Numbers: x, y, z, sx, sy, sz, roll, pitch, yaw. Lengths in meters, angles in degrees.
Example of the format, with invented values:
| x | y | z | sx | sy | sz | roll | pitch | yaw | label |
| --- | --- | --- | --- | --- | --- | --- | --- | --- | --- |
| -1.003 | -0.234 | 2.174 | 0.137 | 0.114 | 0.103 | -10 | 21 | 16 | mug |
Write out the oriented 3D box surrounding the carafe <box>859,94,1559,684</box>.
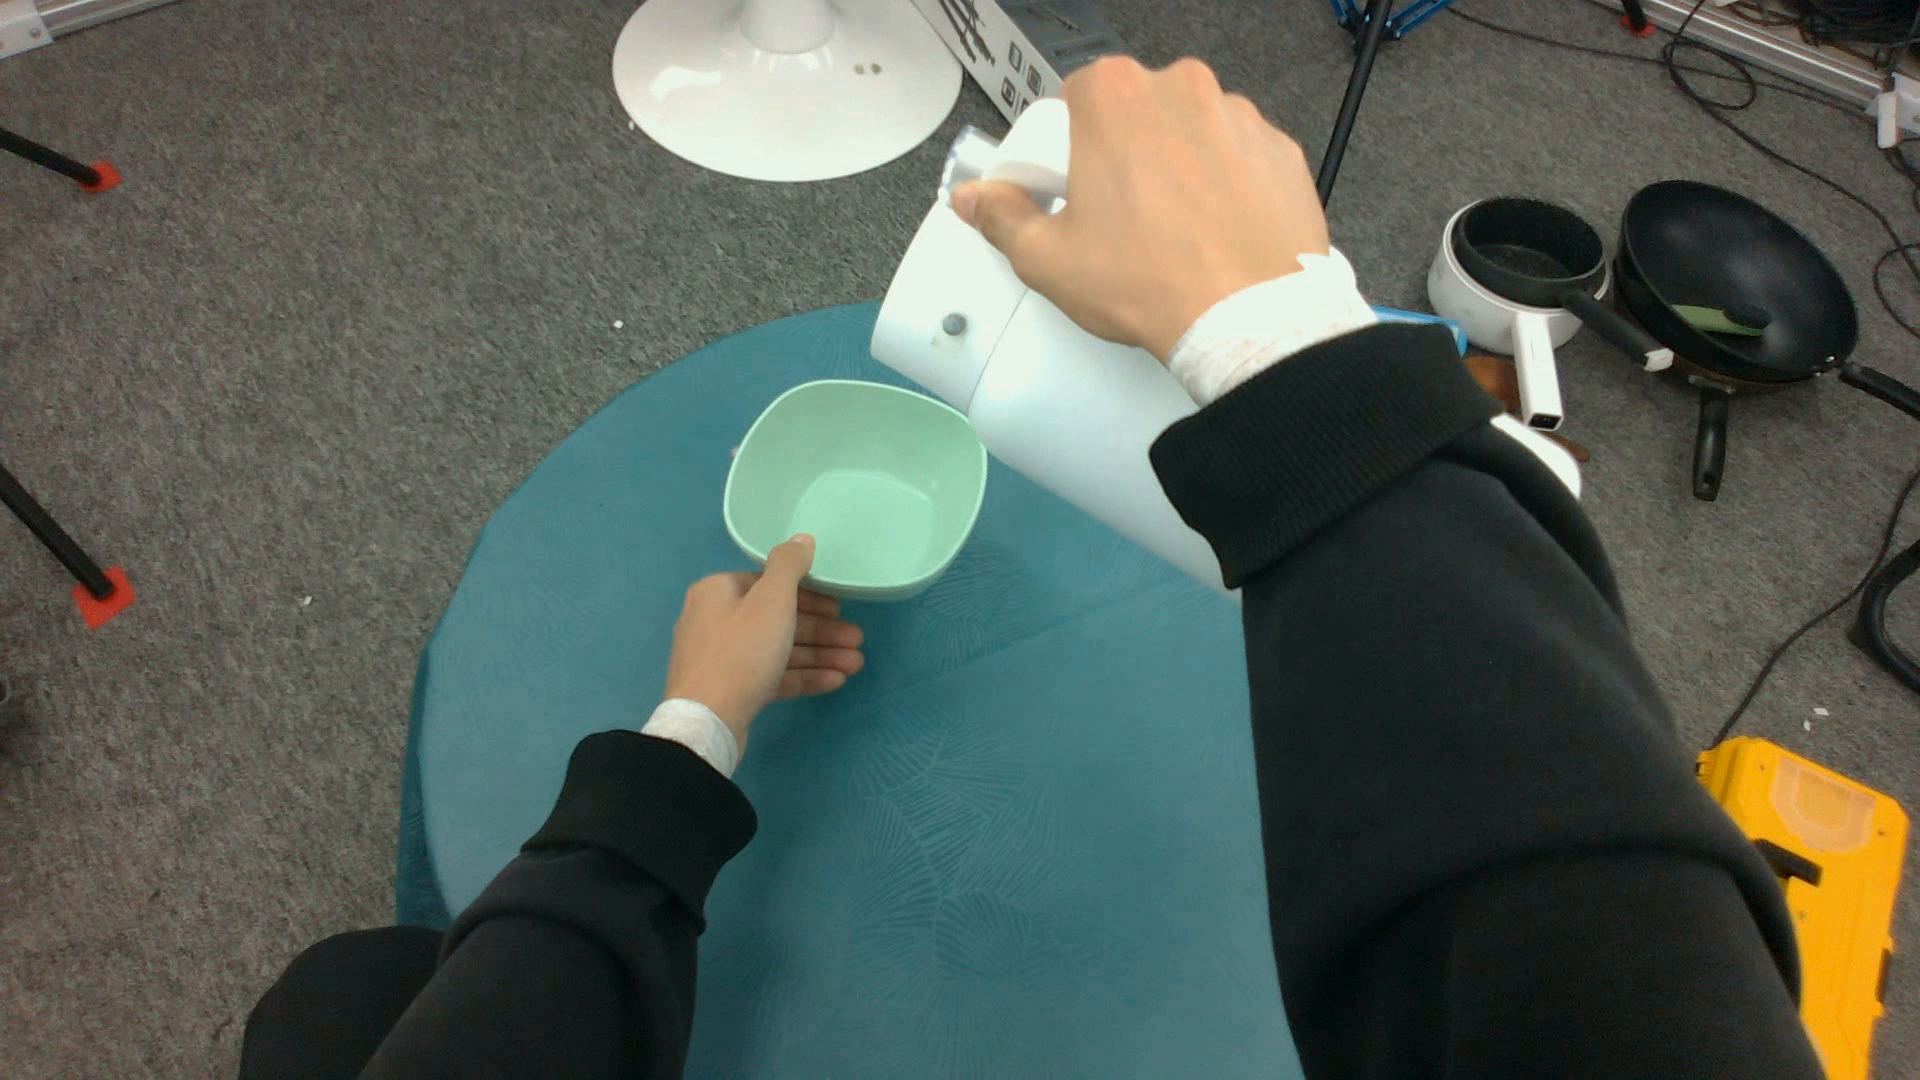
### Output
| x | y | z | sx | sy | sz | roll | pitch | yaw | label |
| --- | --- | --- | --- | --- | --- | --- | --- | --- | --- |
| 0.101 | -0.063 | 0.549 | 0.269 | 0.172 | 0.124 | 33 | 63 | 2 | carafe |

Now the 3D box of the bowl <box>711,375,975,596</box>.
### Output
| x | y | z | sx | sy | sz | roll | pitch | yaw | label |
| --- | --- | --- | --- | --- | --- | --- | --- | --- | --- |
| -0.063 | -0.021 | 0.772 | 0.151 | 0.058 | 0.152 | 1 | 55 | -2 | bowl |
